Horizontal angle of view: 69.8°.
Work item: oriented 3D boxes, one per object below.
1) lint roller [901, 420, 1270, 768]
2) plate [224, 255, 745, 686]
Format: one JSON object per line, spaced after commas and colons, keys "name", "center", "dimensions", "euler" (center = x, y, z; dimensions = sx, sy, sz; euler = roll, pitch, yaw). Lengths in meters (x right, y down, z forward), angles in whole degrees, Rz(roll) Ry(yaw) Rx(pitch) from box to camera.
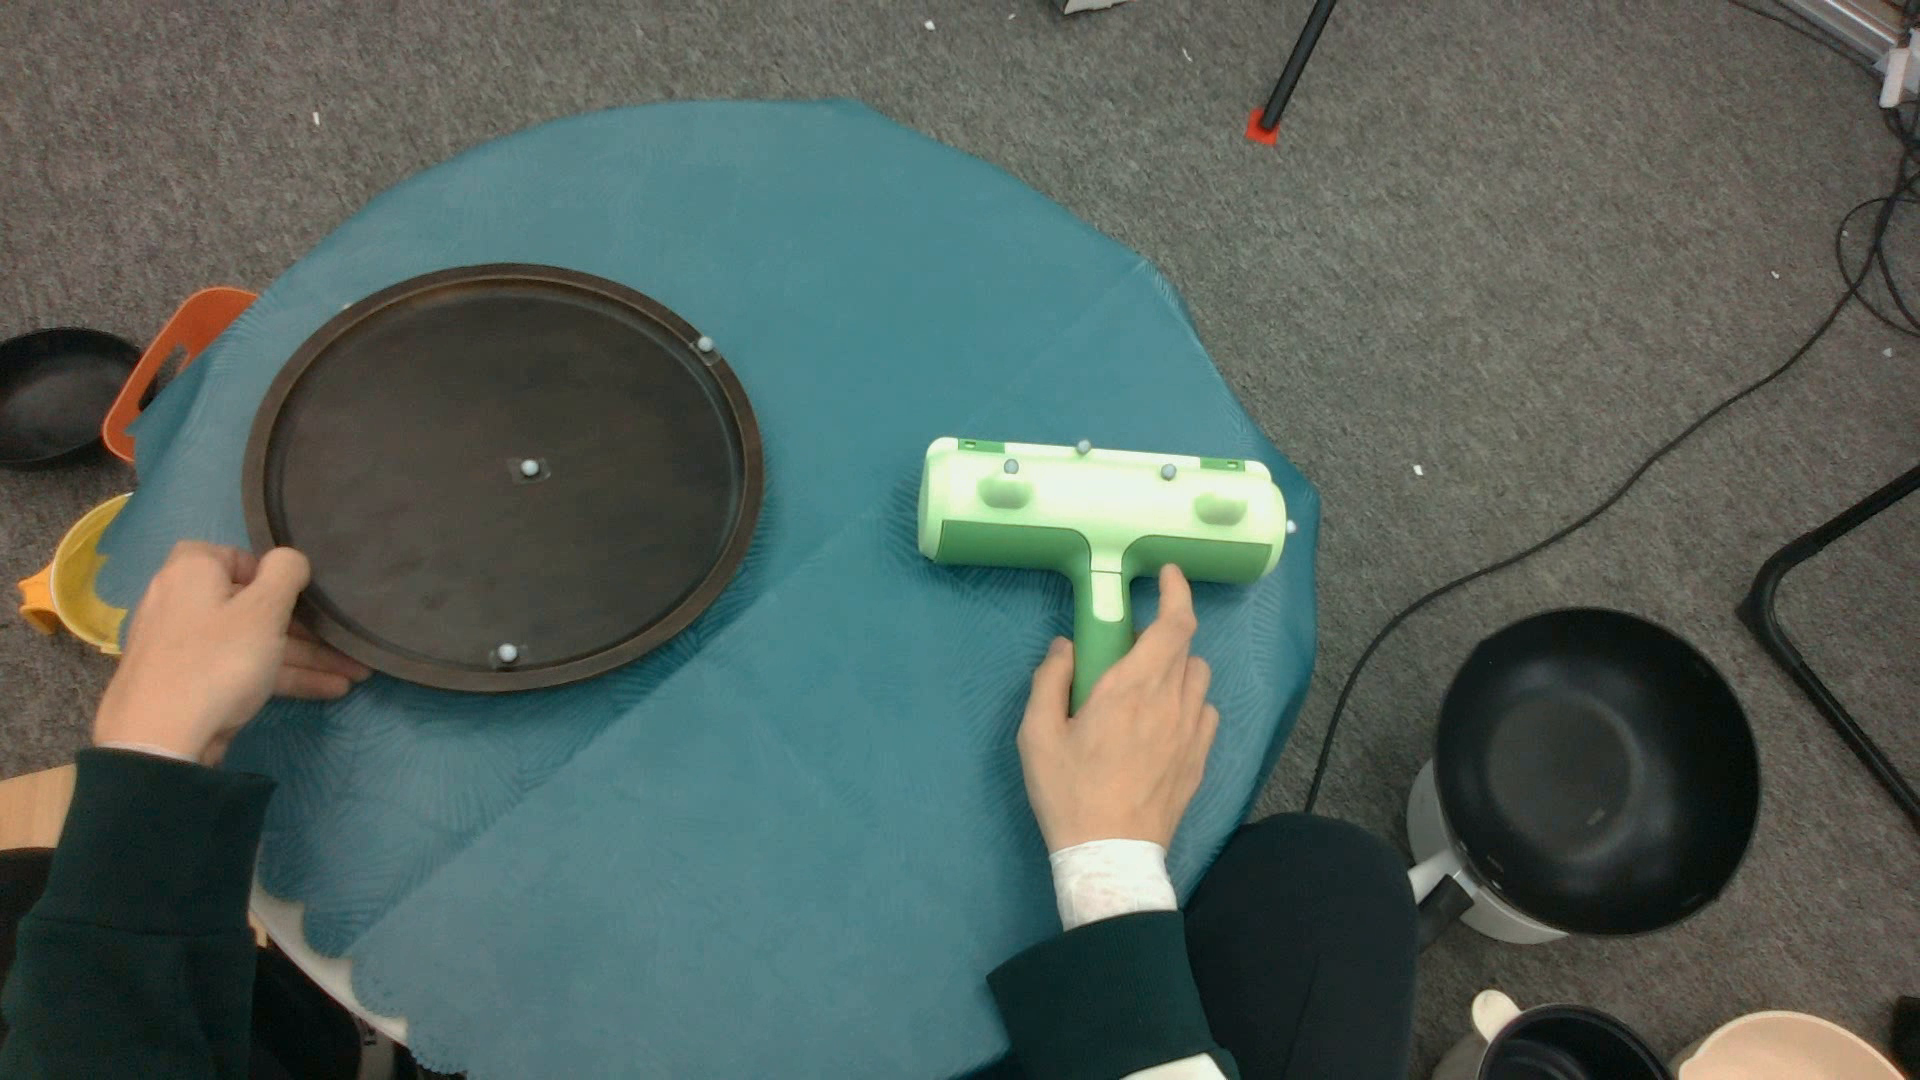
{"name": "lint roller", "center": [0.071, 0.019, 0.711], "dimensions": [0.199, 0.082, 0.184], "euler": [3, 58, -9]}
{"name": "plate", "center": [-0.239, -0.041, 0.711], "dimensions": [0.255, 0.029, 0.256], "euler": [6, 60, -11]}
